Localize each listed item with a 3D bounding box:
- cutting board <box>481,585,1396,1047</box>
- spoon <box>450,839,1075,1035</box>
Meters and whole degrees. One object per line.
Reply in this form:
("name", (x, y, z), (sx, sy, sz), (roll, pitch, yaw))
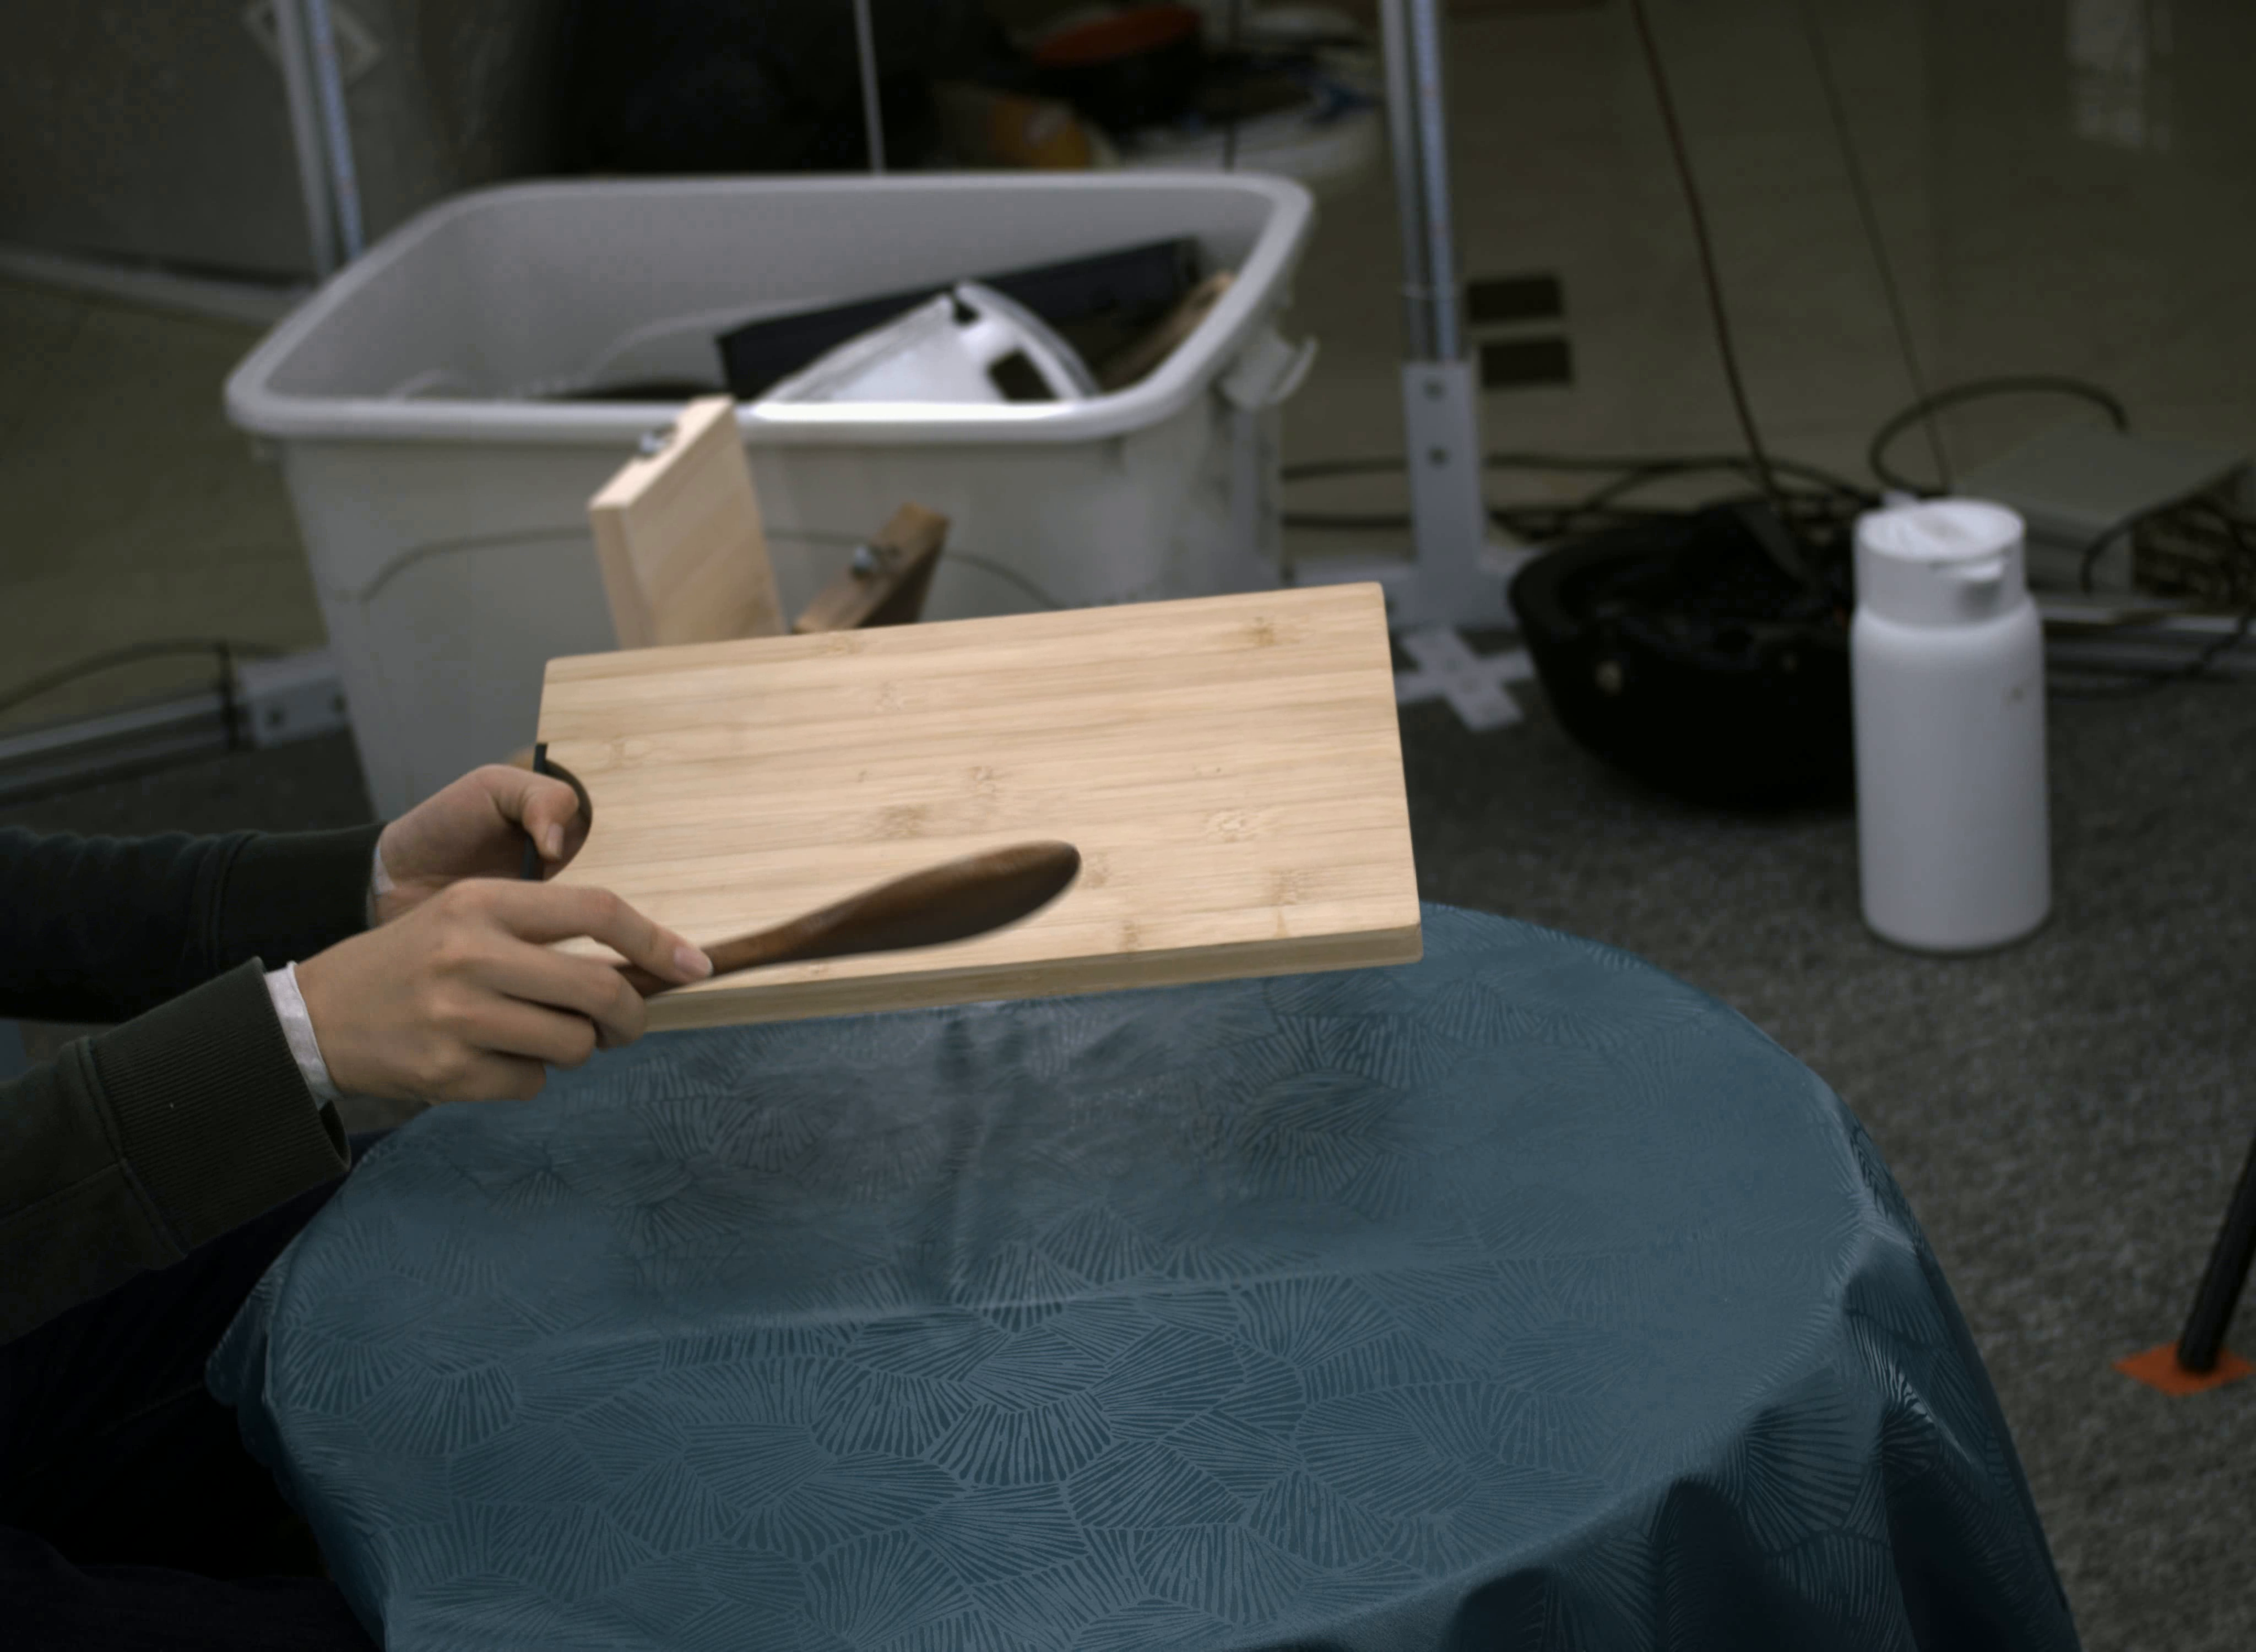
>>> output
("cutting board", (-0.070, -0.007, 2.185), (0.348, 0.024, 0.246), (-6, 34, 1))
("spoon", (-0.120, 0.038, 1.887), (0.215, 0.017, 0.076), (-13, -10, -9))
